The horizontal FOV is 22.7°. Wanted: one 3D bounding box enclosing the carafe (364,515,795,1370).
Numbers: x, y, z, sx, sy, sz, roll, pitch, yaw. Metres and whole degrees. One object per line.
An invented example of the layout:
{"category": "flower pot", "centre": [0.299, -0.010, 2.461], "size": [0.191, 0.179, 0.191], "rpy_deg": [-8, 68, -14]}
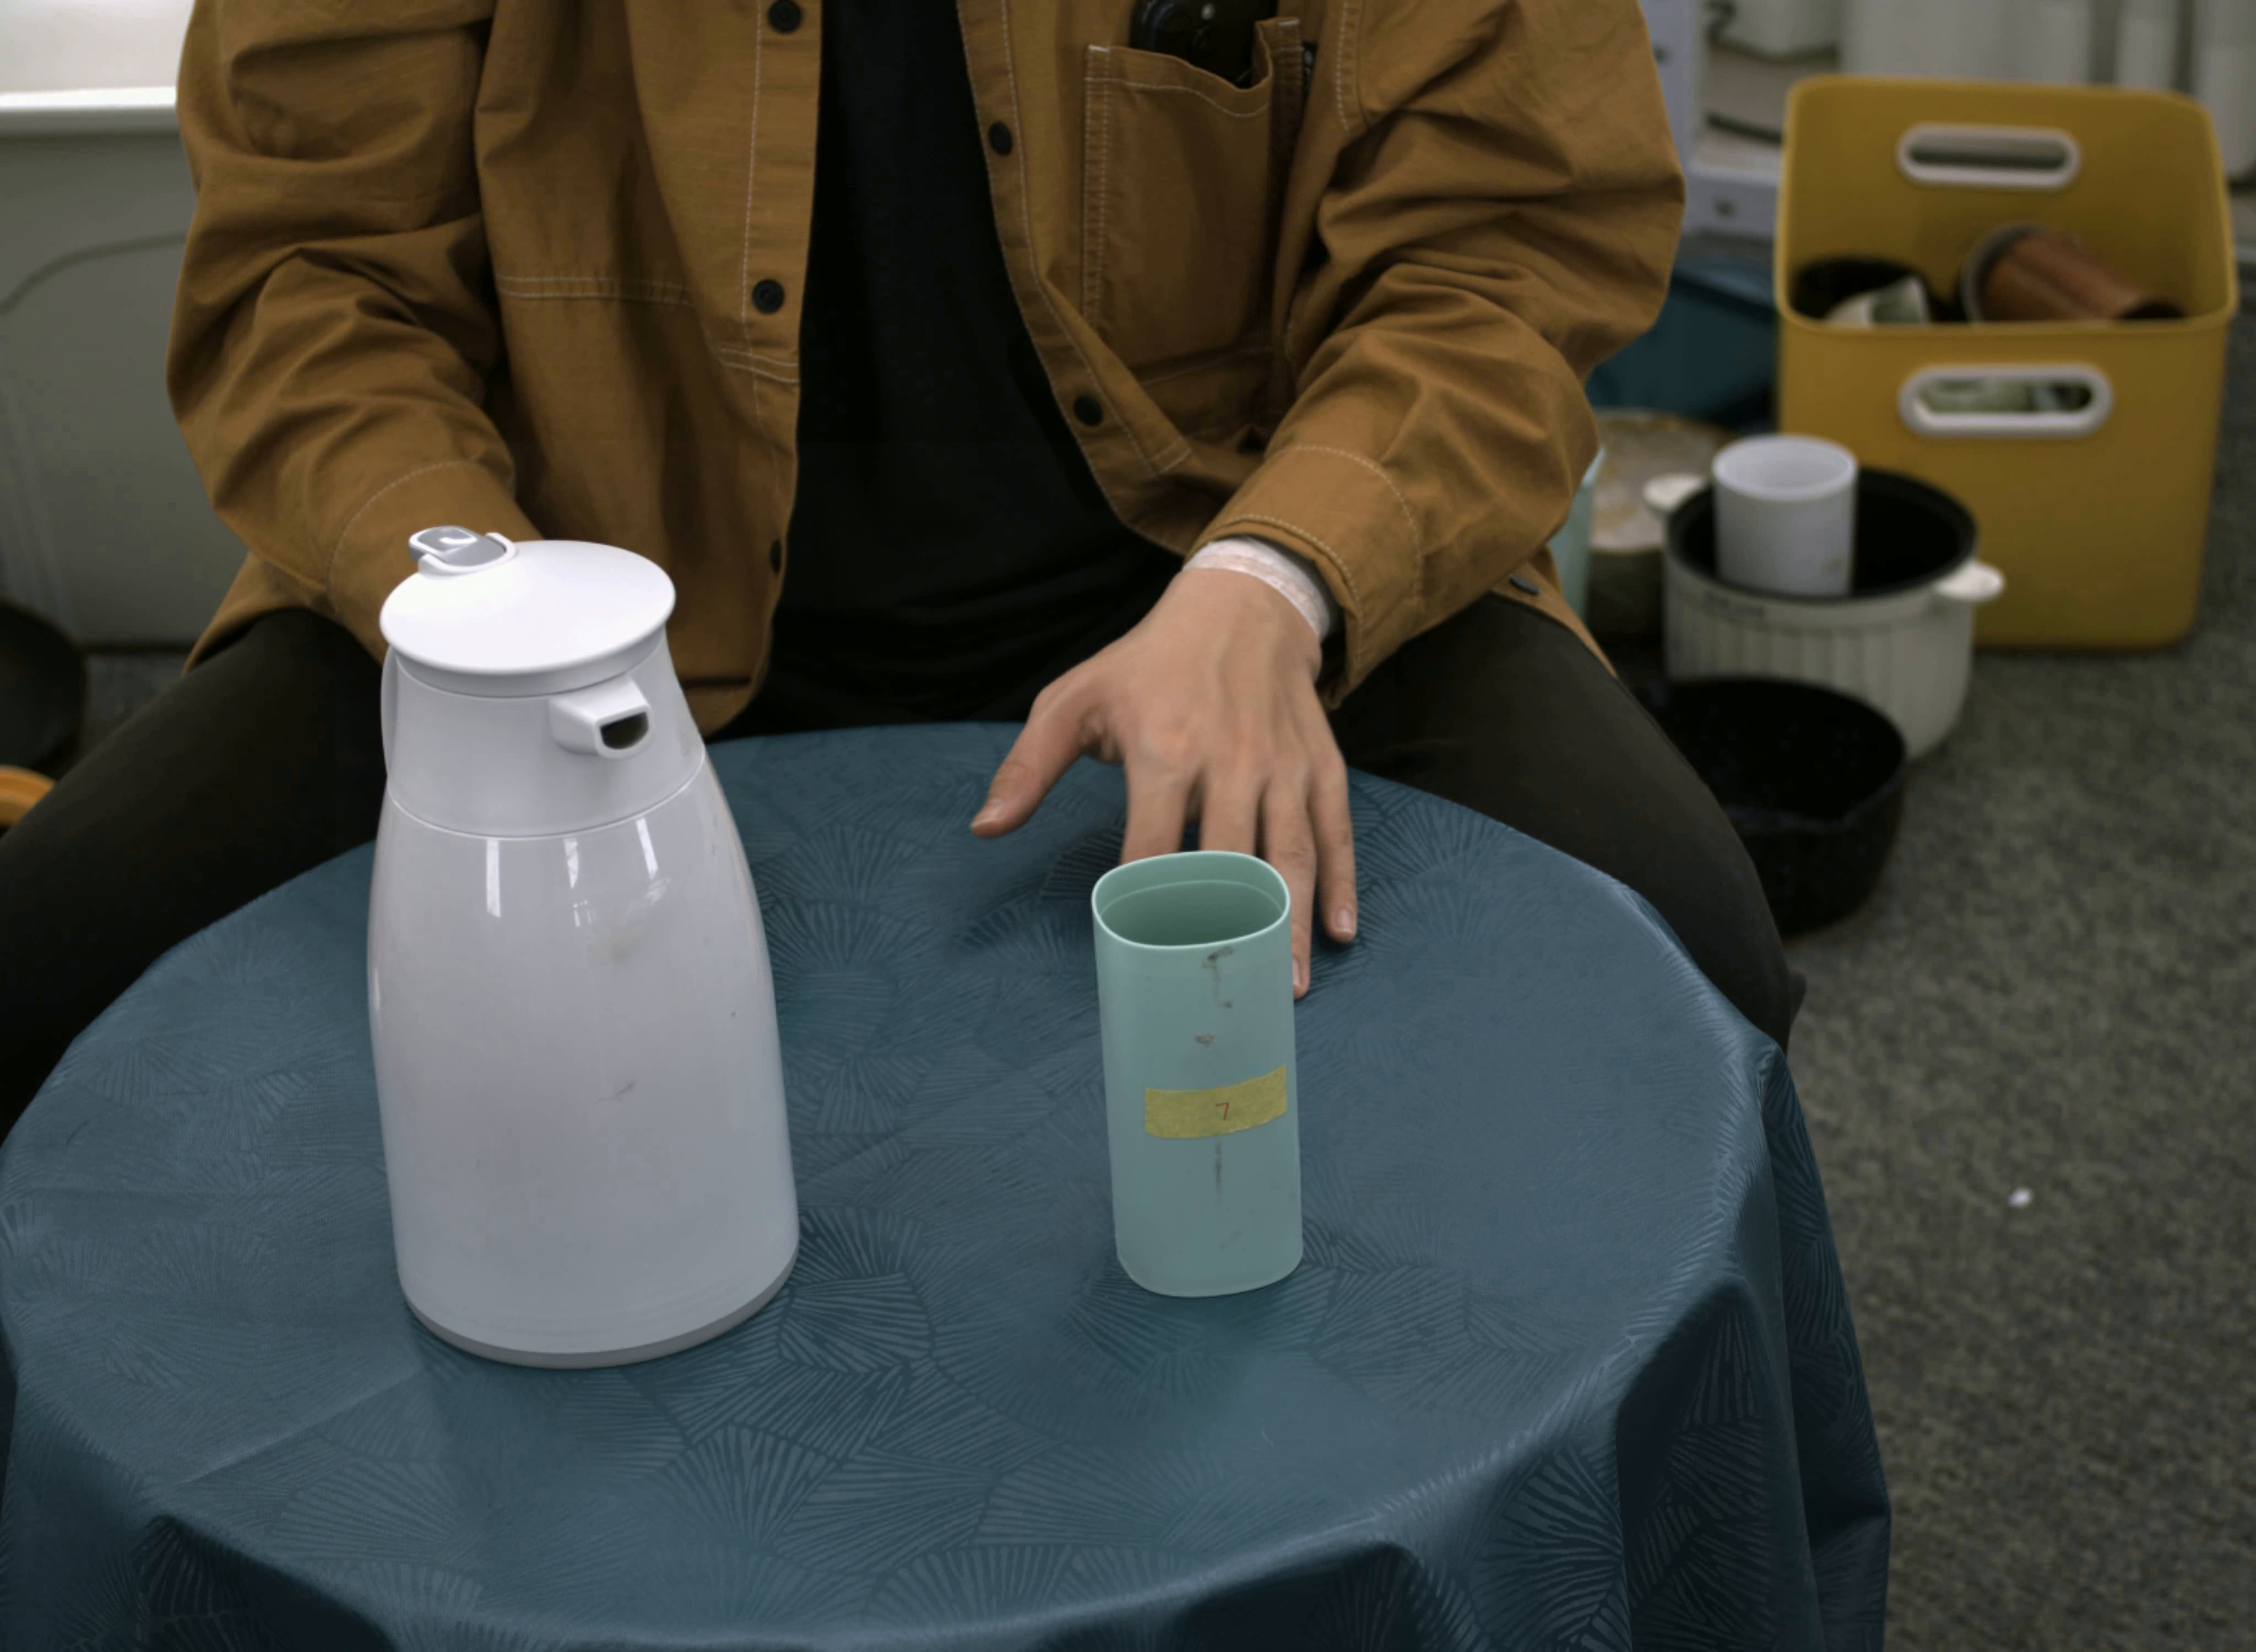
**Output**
{"category": "carafe", "centre": [-0.191, 0.027, 1.795], "size": [0.133, 0.246, 0.168], "rpy_deg": [-19, 30, -29]}

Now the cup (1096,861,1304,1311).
{"category": "cup", "centre": [0.024, 0.082, 1.799], "size": [0.066, 0.131, 0.068], "rpy_deg": [-2, 27, 2]}
